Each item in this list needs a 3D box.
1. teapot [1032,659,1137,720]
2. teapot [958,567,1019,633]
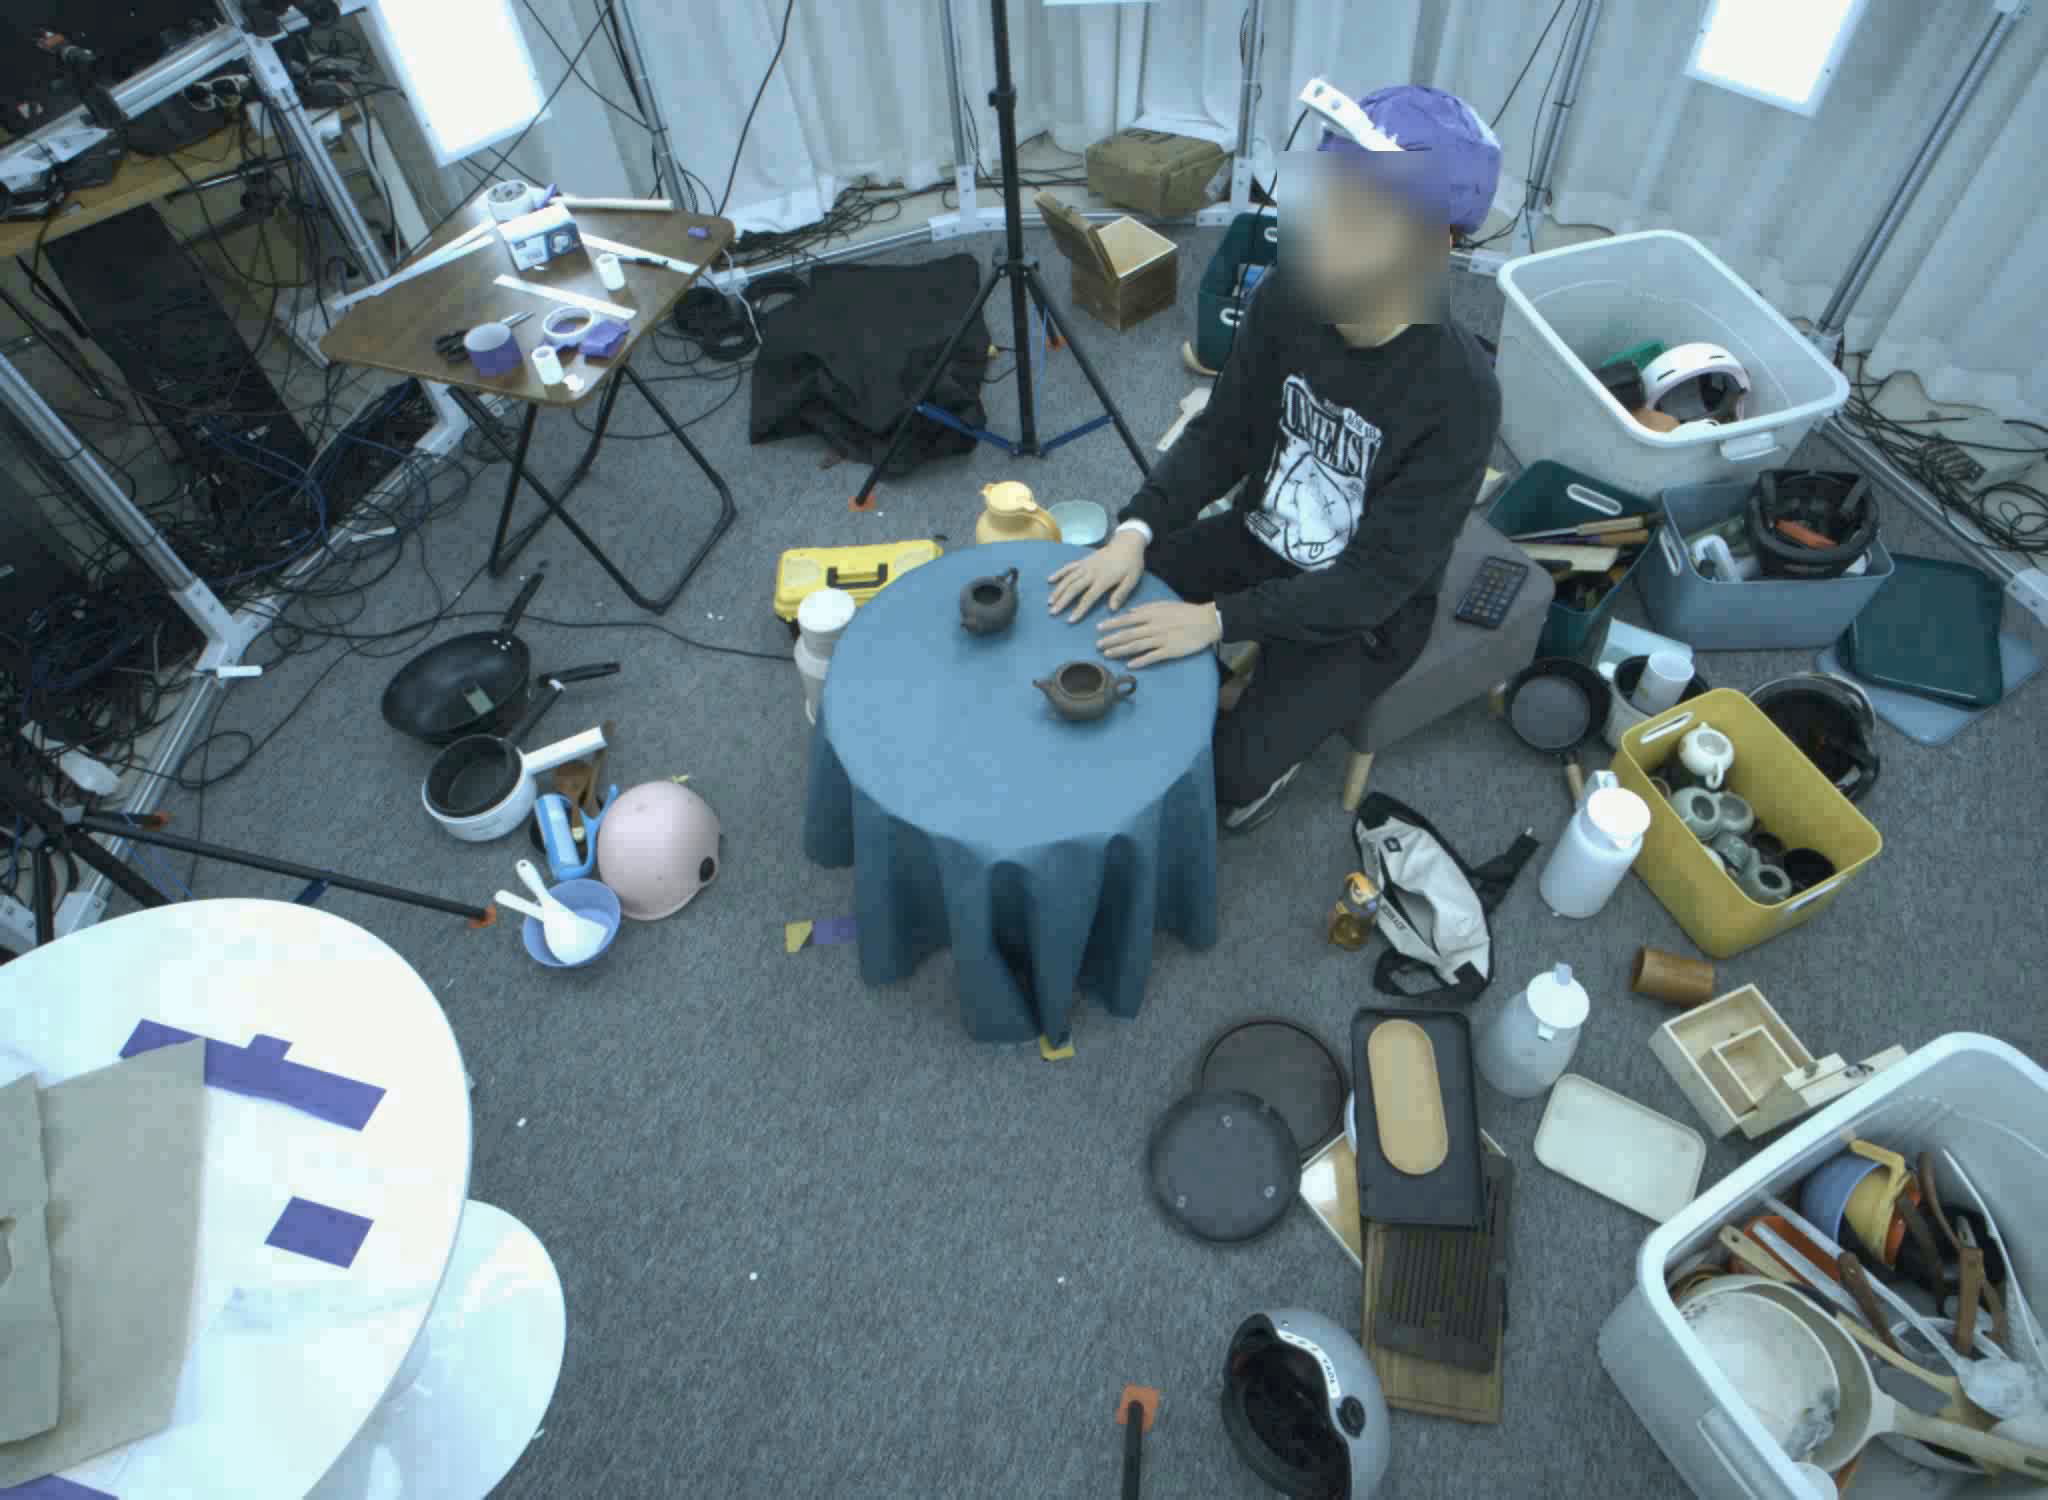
[{"bbox_3d":[0.089,-0.091,1.812,0.154,0.054,0.101,-9,56,-4],"label":"teapot"},{"bbox_3d":[-0.054,-0.229,1.910,0.091,0.065,0.155,28,60,18],"label":"teapot"}]
